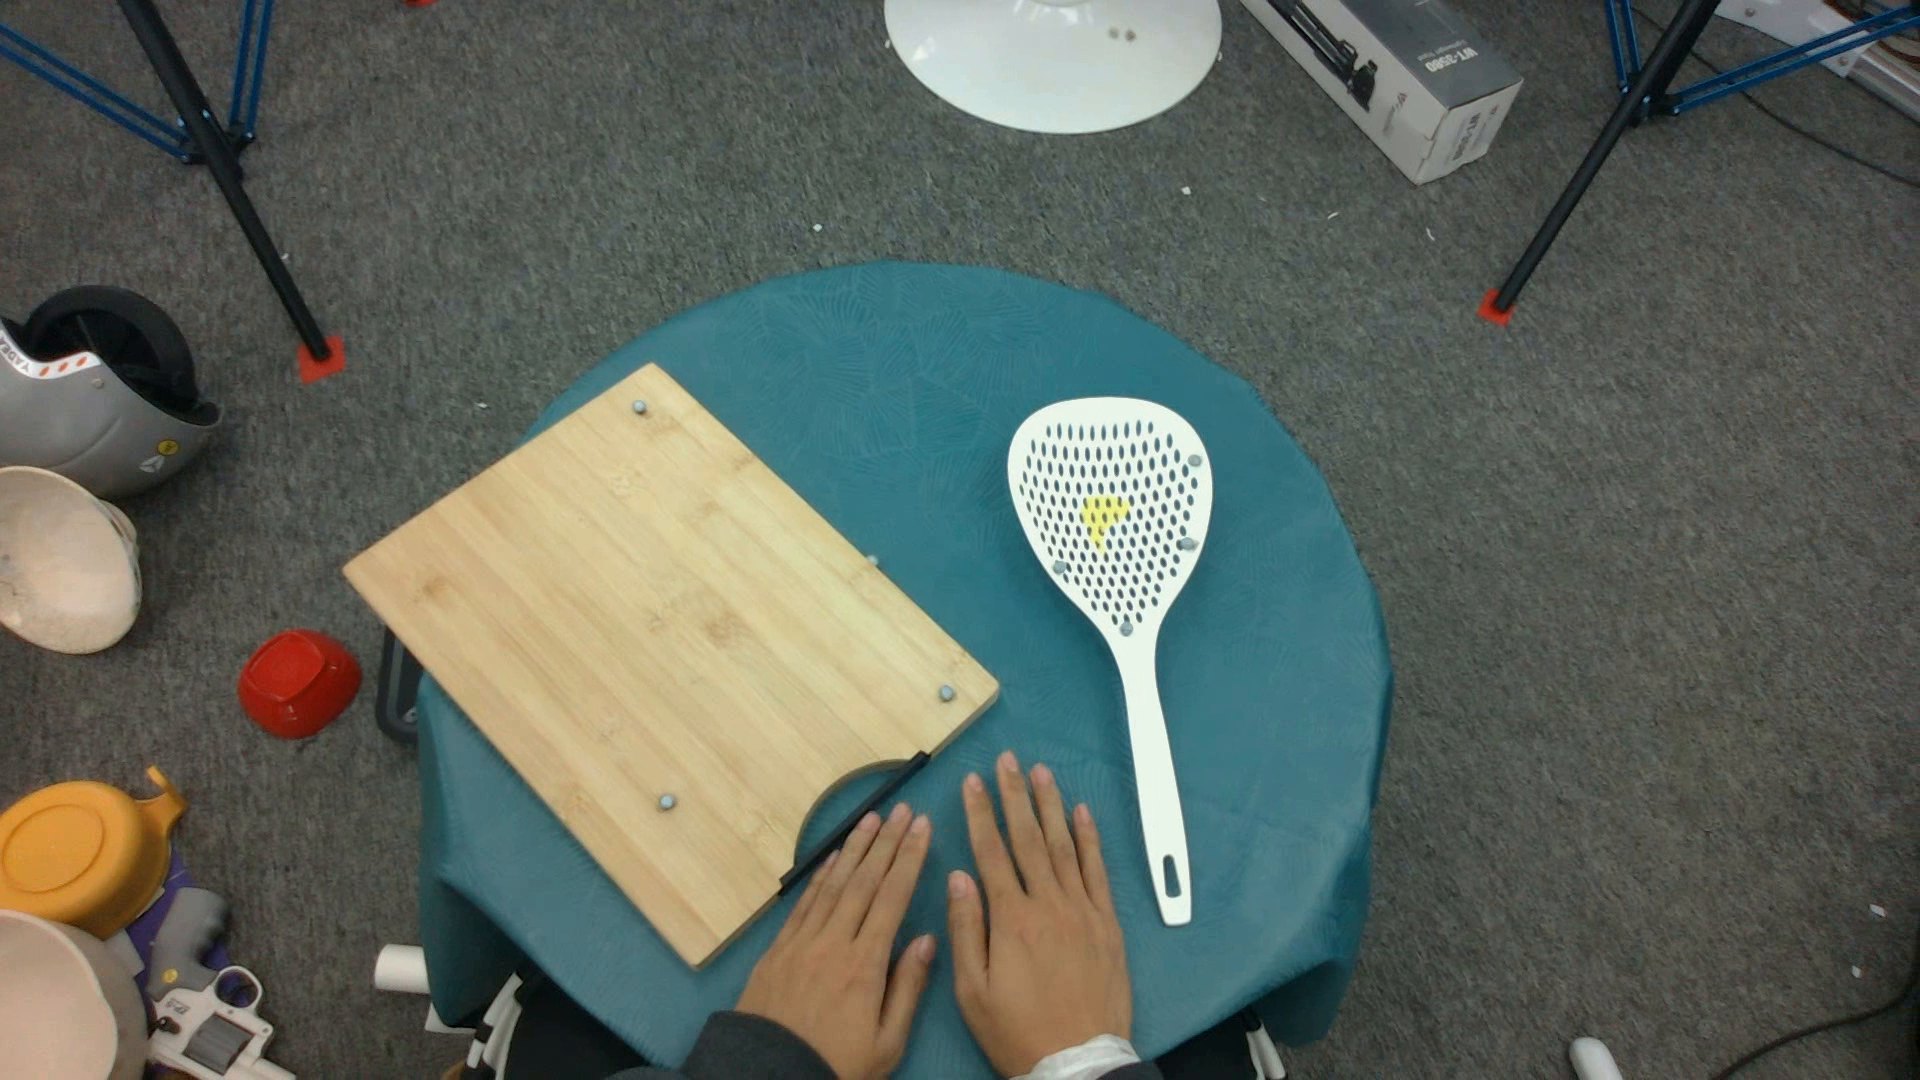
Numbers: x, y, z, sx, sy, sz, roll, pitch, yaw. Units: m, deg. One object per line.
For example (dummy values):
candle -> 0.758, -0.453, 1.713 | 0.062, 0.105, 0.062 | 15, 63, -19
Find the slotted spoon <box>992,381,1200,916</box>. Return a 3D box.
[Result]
slotted spoon -> 0.100, 0.054, 0.856 | 0.137, 0.050, 0.349 | -3, 60, -8

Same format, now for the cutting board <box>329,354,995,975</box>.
cutting board -> -0.184, 0.053, 0.848 | 0.349, 0.023, 0.251 | 41, 65, 18
